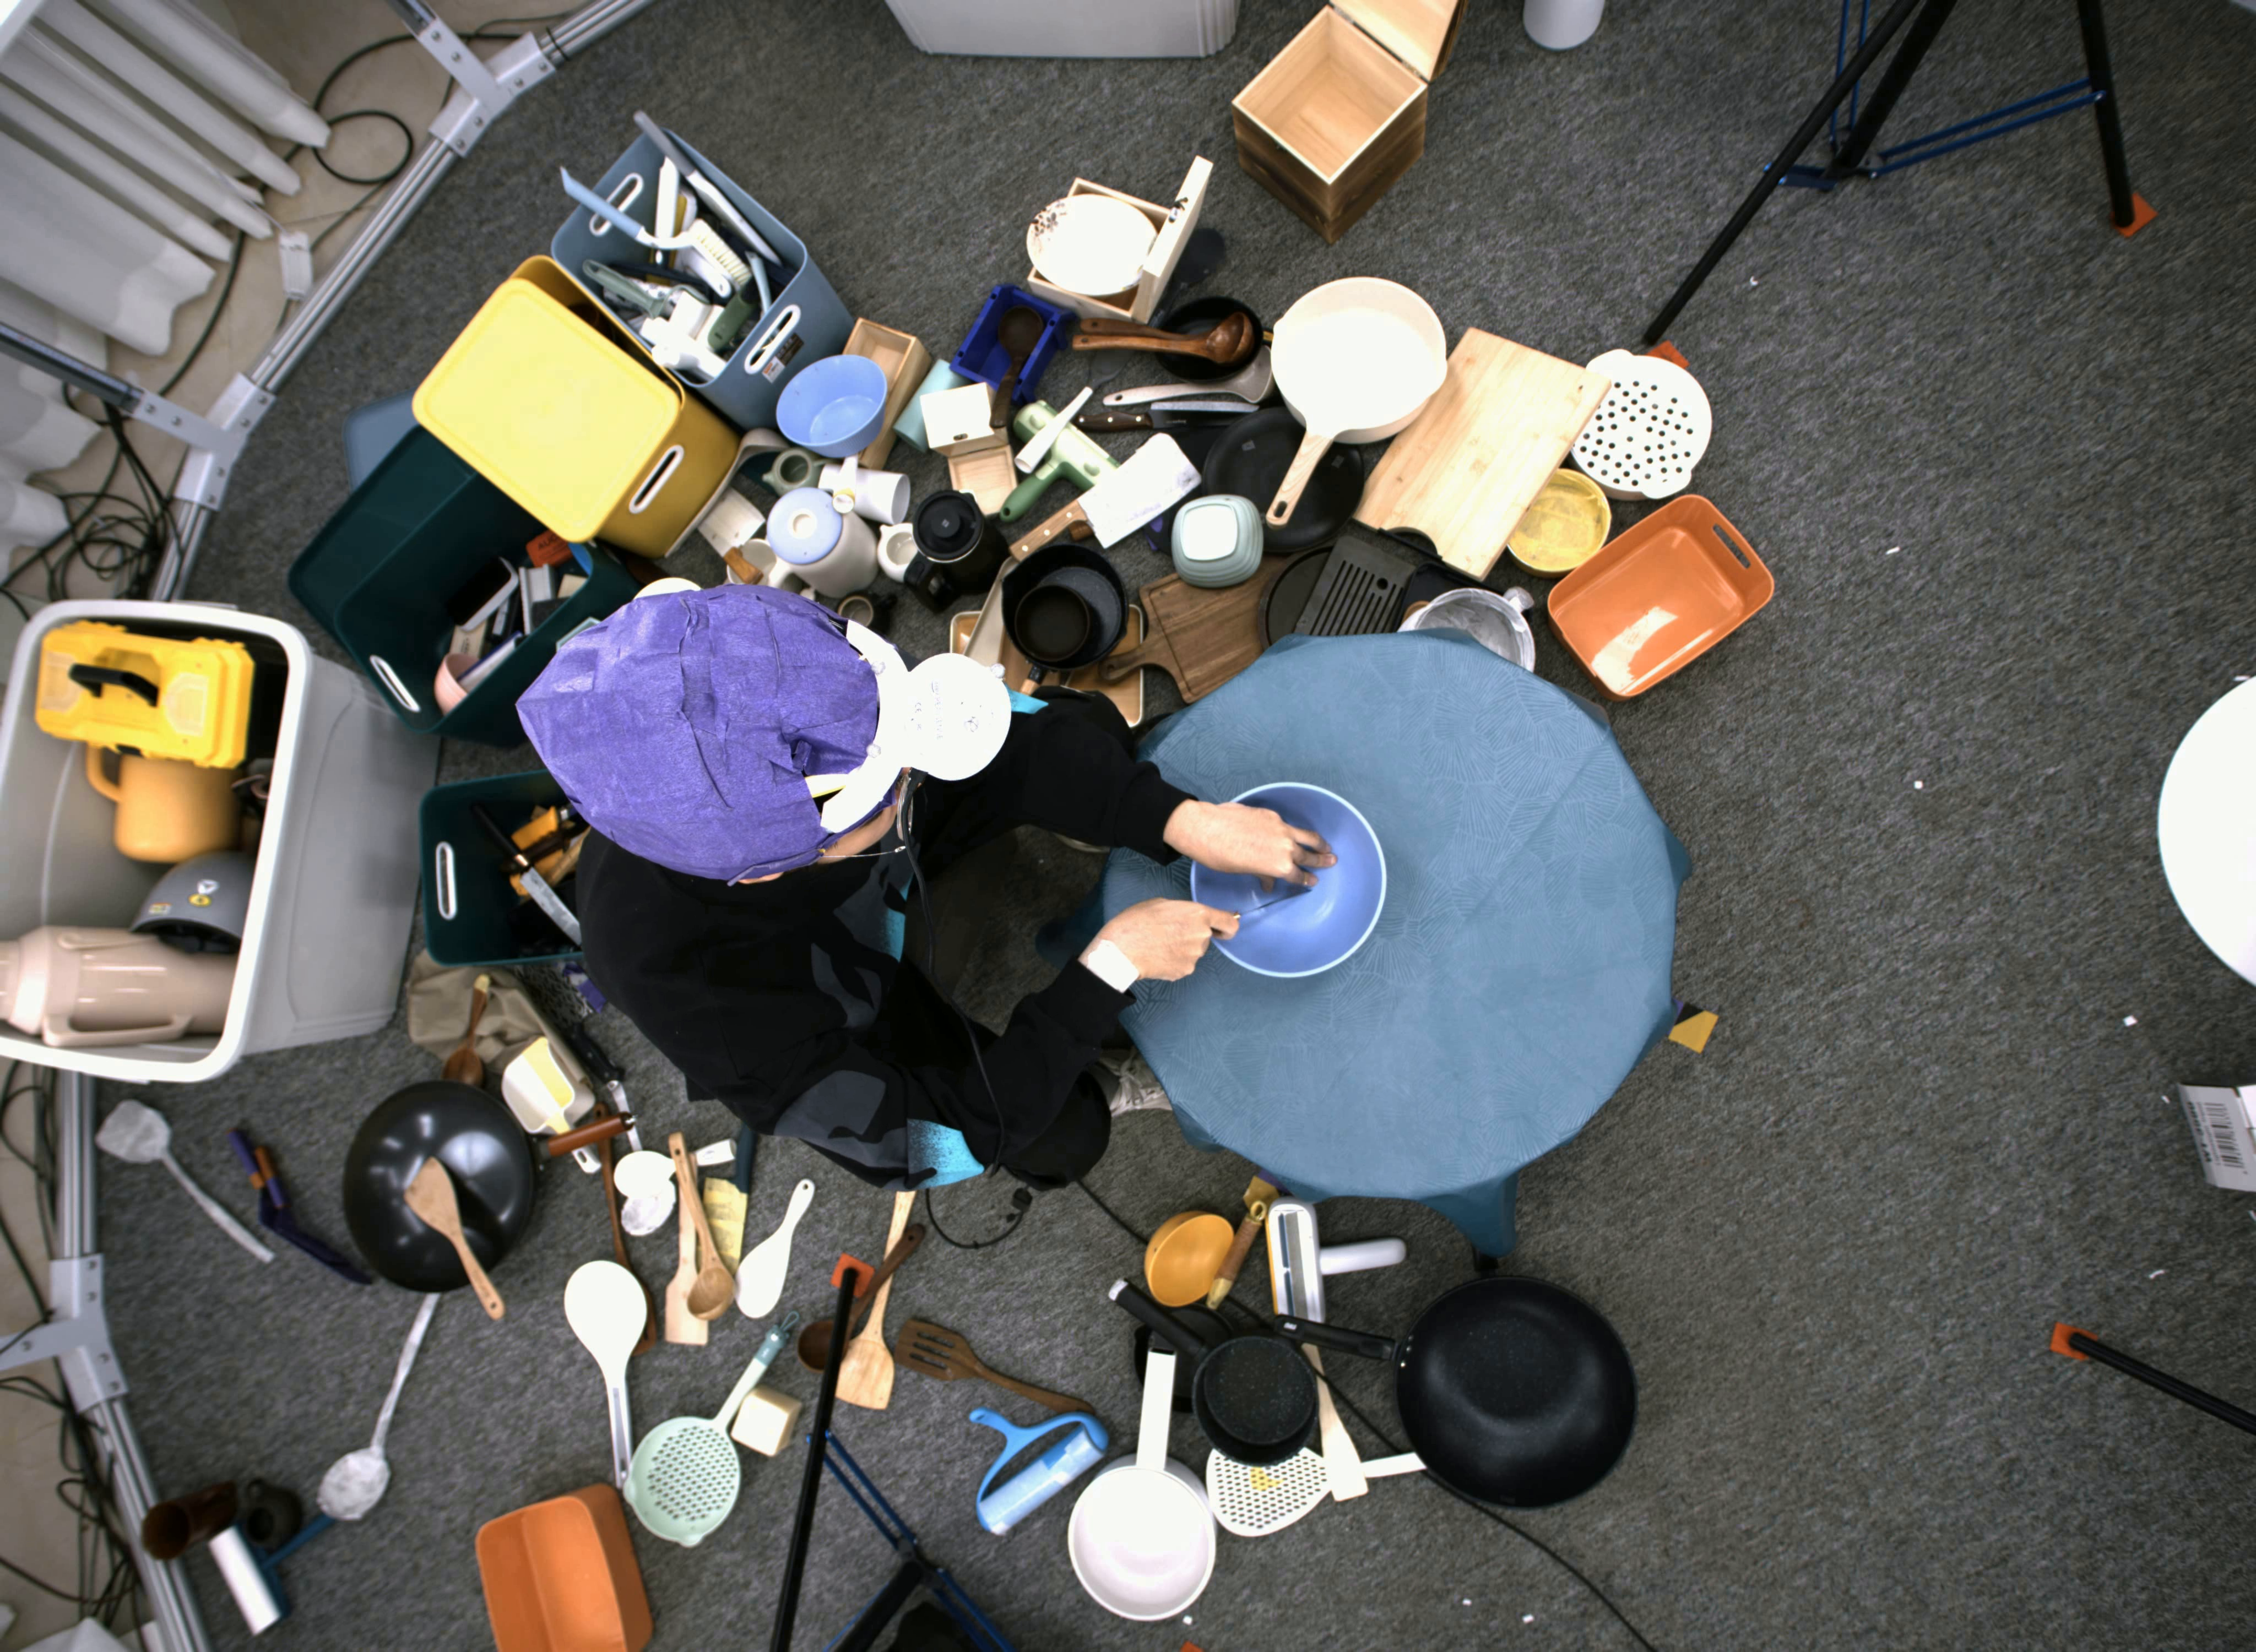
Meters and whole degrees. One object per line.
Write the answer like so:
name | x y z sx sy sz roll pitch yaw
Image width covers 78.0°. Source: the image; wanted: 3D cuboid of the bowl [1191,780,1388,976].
bowl | 0.166 0.056 1.429 0.197 0.095 0.195 -1 85 7

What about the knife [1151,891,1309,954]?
knife | 0.109 0.092 1.401 0.222 0.027 0.017 -16 76 -36
